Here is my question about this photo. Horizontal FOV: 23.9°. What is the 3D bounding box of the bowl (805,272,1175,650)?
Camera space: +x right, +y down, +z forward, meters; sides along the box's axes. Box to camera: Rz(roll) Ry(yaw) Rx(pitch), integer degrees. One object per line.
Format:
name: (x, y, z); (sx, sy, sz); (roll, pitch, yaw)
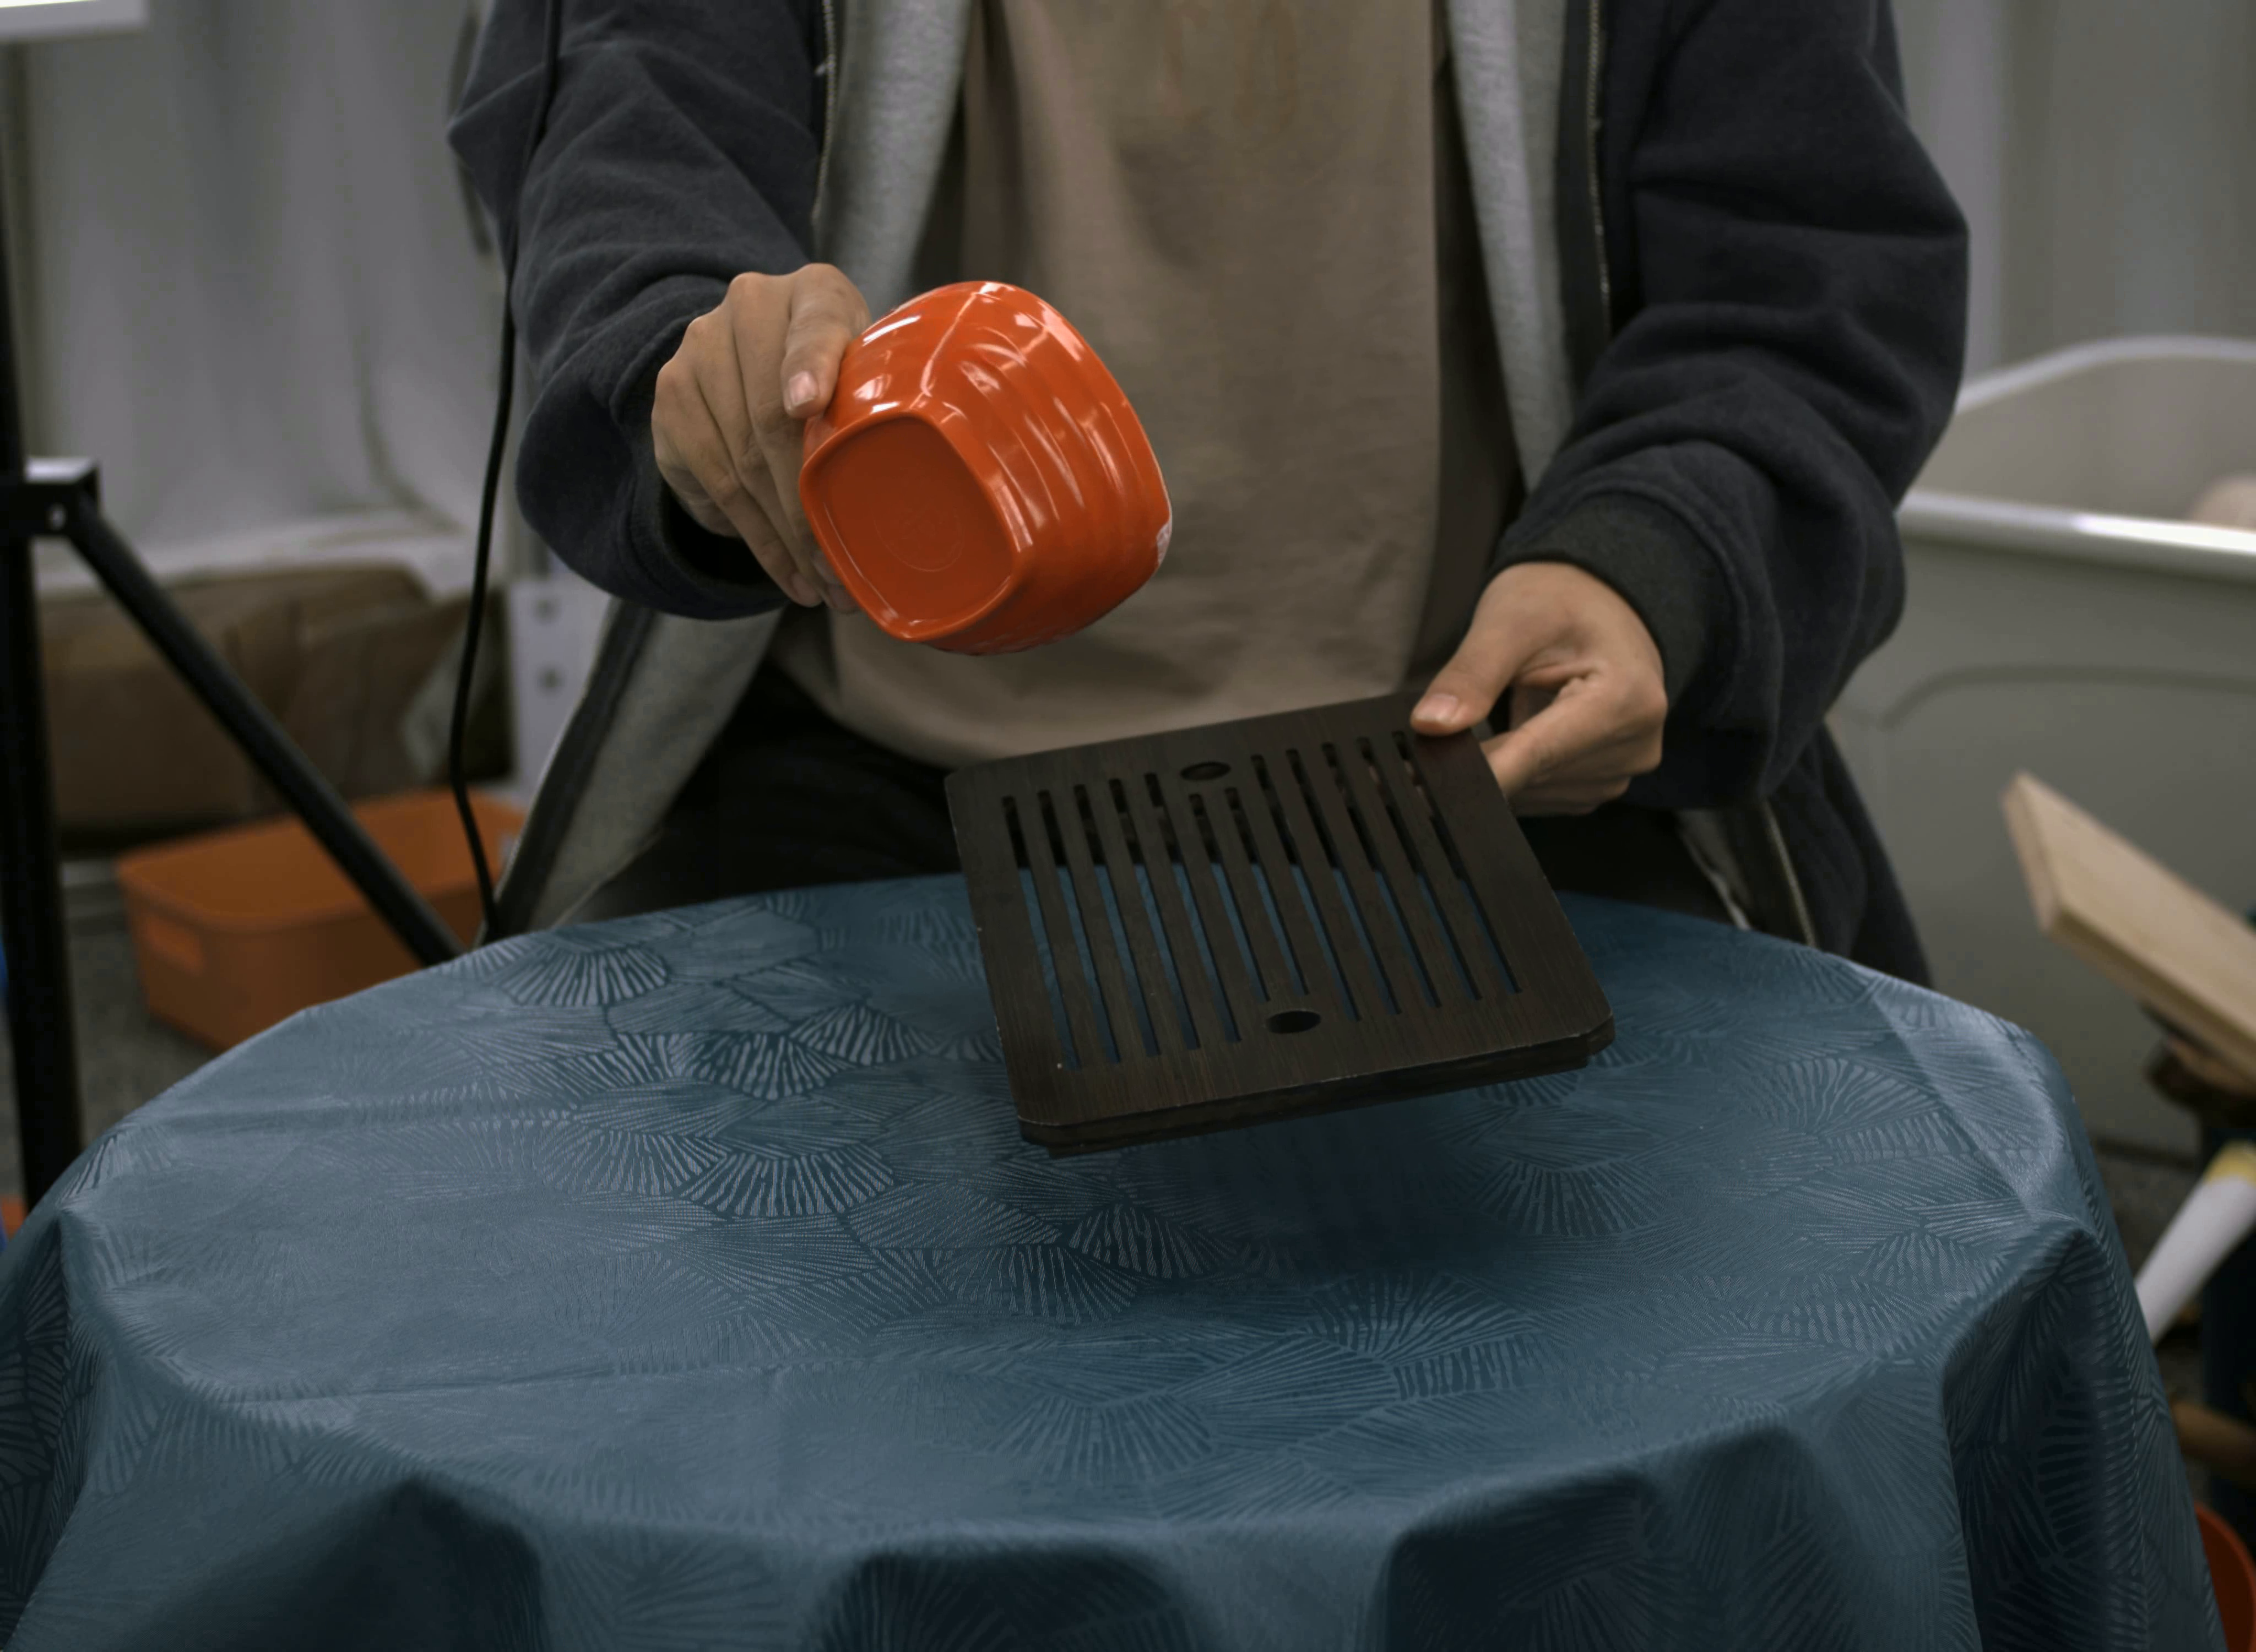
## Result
bowl: (-0.049, -0.097, 1.547); (0.121, 0.118, 0.050); (9, 31, 33)

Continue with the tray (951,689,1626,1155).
tray: (0.041, 0.025, 1.602); (0.169, 0.018, 0.309); (-10, 20, -2)
